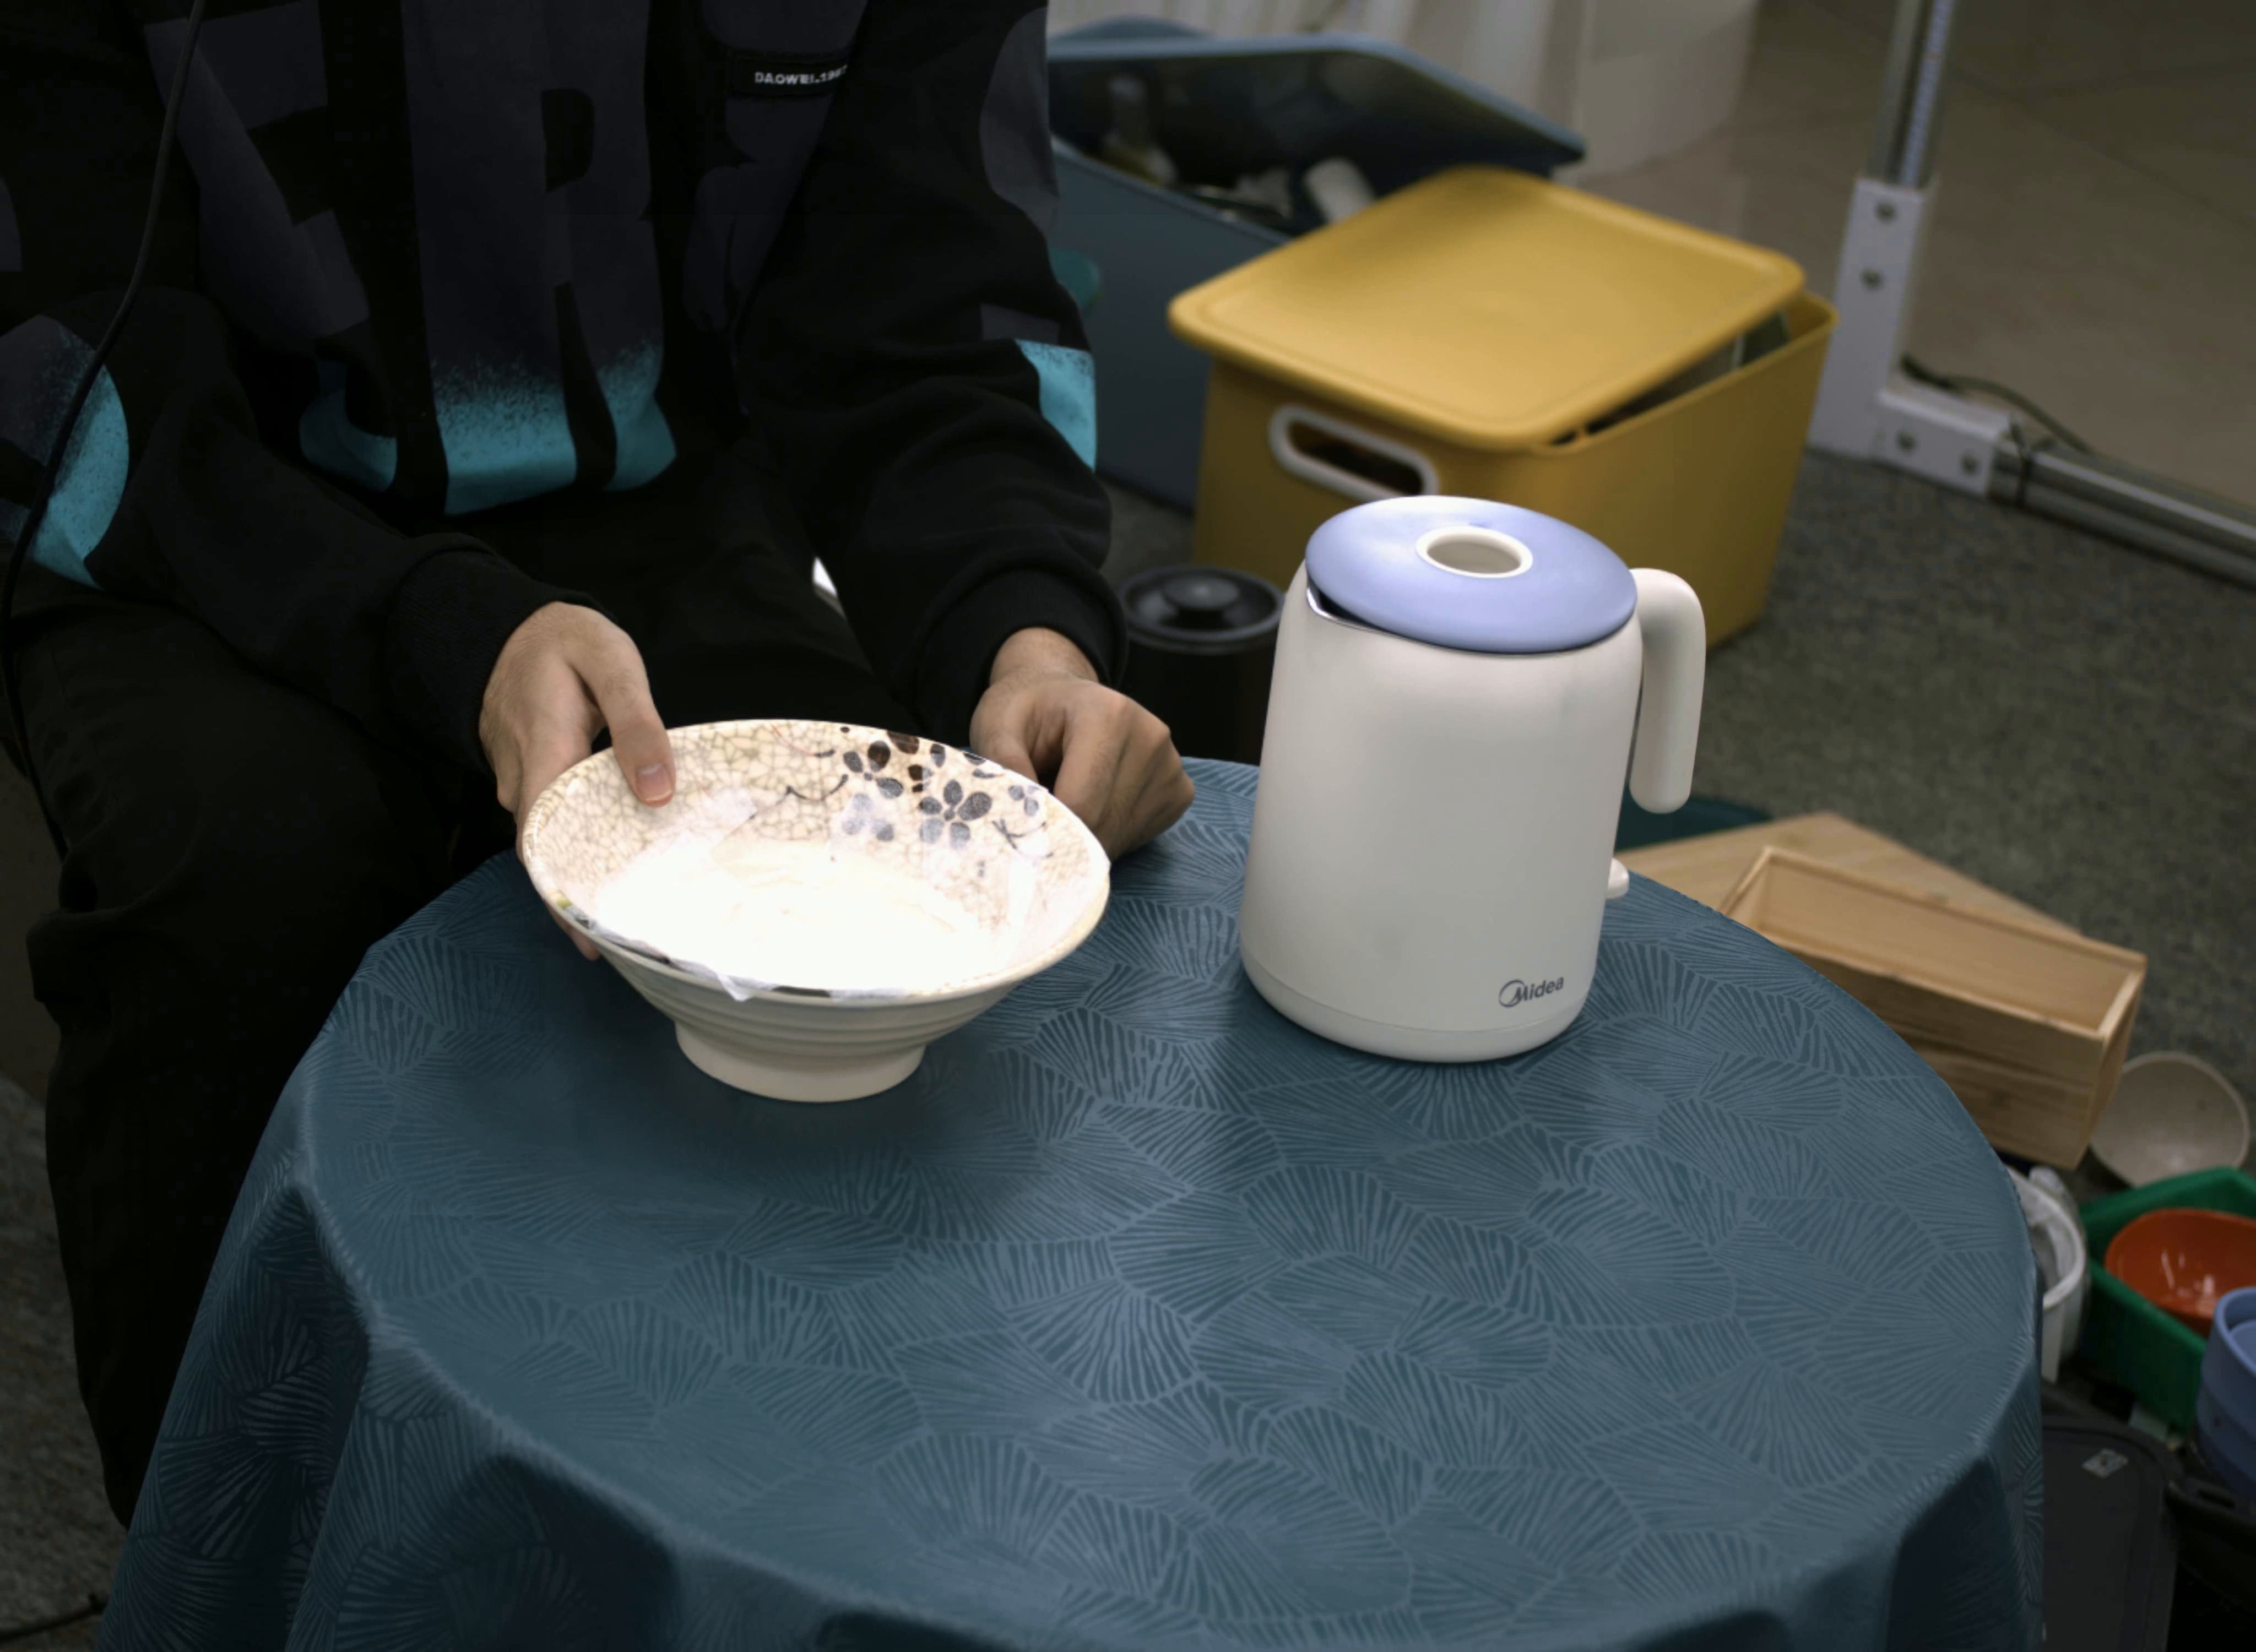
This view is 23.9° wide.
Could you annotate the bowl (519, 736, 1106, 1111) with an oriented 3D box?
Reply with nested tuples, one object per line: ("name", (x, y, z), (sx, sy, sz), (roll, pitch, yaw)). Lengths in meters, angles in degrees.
("bowl", (-0.112, 0.045, 1.848), (0.203, 0.078, 0.205), (5, 24, -3))

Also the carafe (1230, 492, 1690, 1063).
("carafe", (0.130, -0.022, 1.927), (0.190, 0.182, 0.133), (-11, 33, -36))
